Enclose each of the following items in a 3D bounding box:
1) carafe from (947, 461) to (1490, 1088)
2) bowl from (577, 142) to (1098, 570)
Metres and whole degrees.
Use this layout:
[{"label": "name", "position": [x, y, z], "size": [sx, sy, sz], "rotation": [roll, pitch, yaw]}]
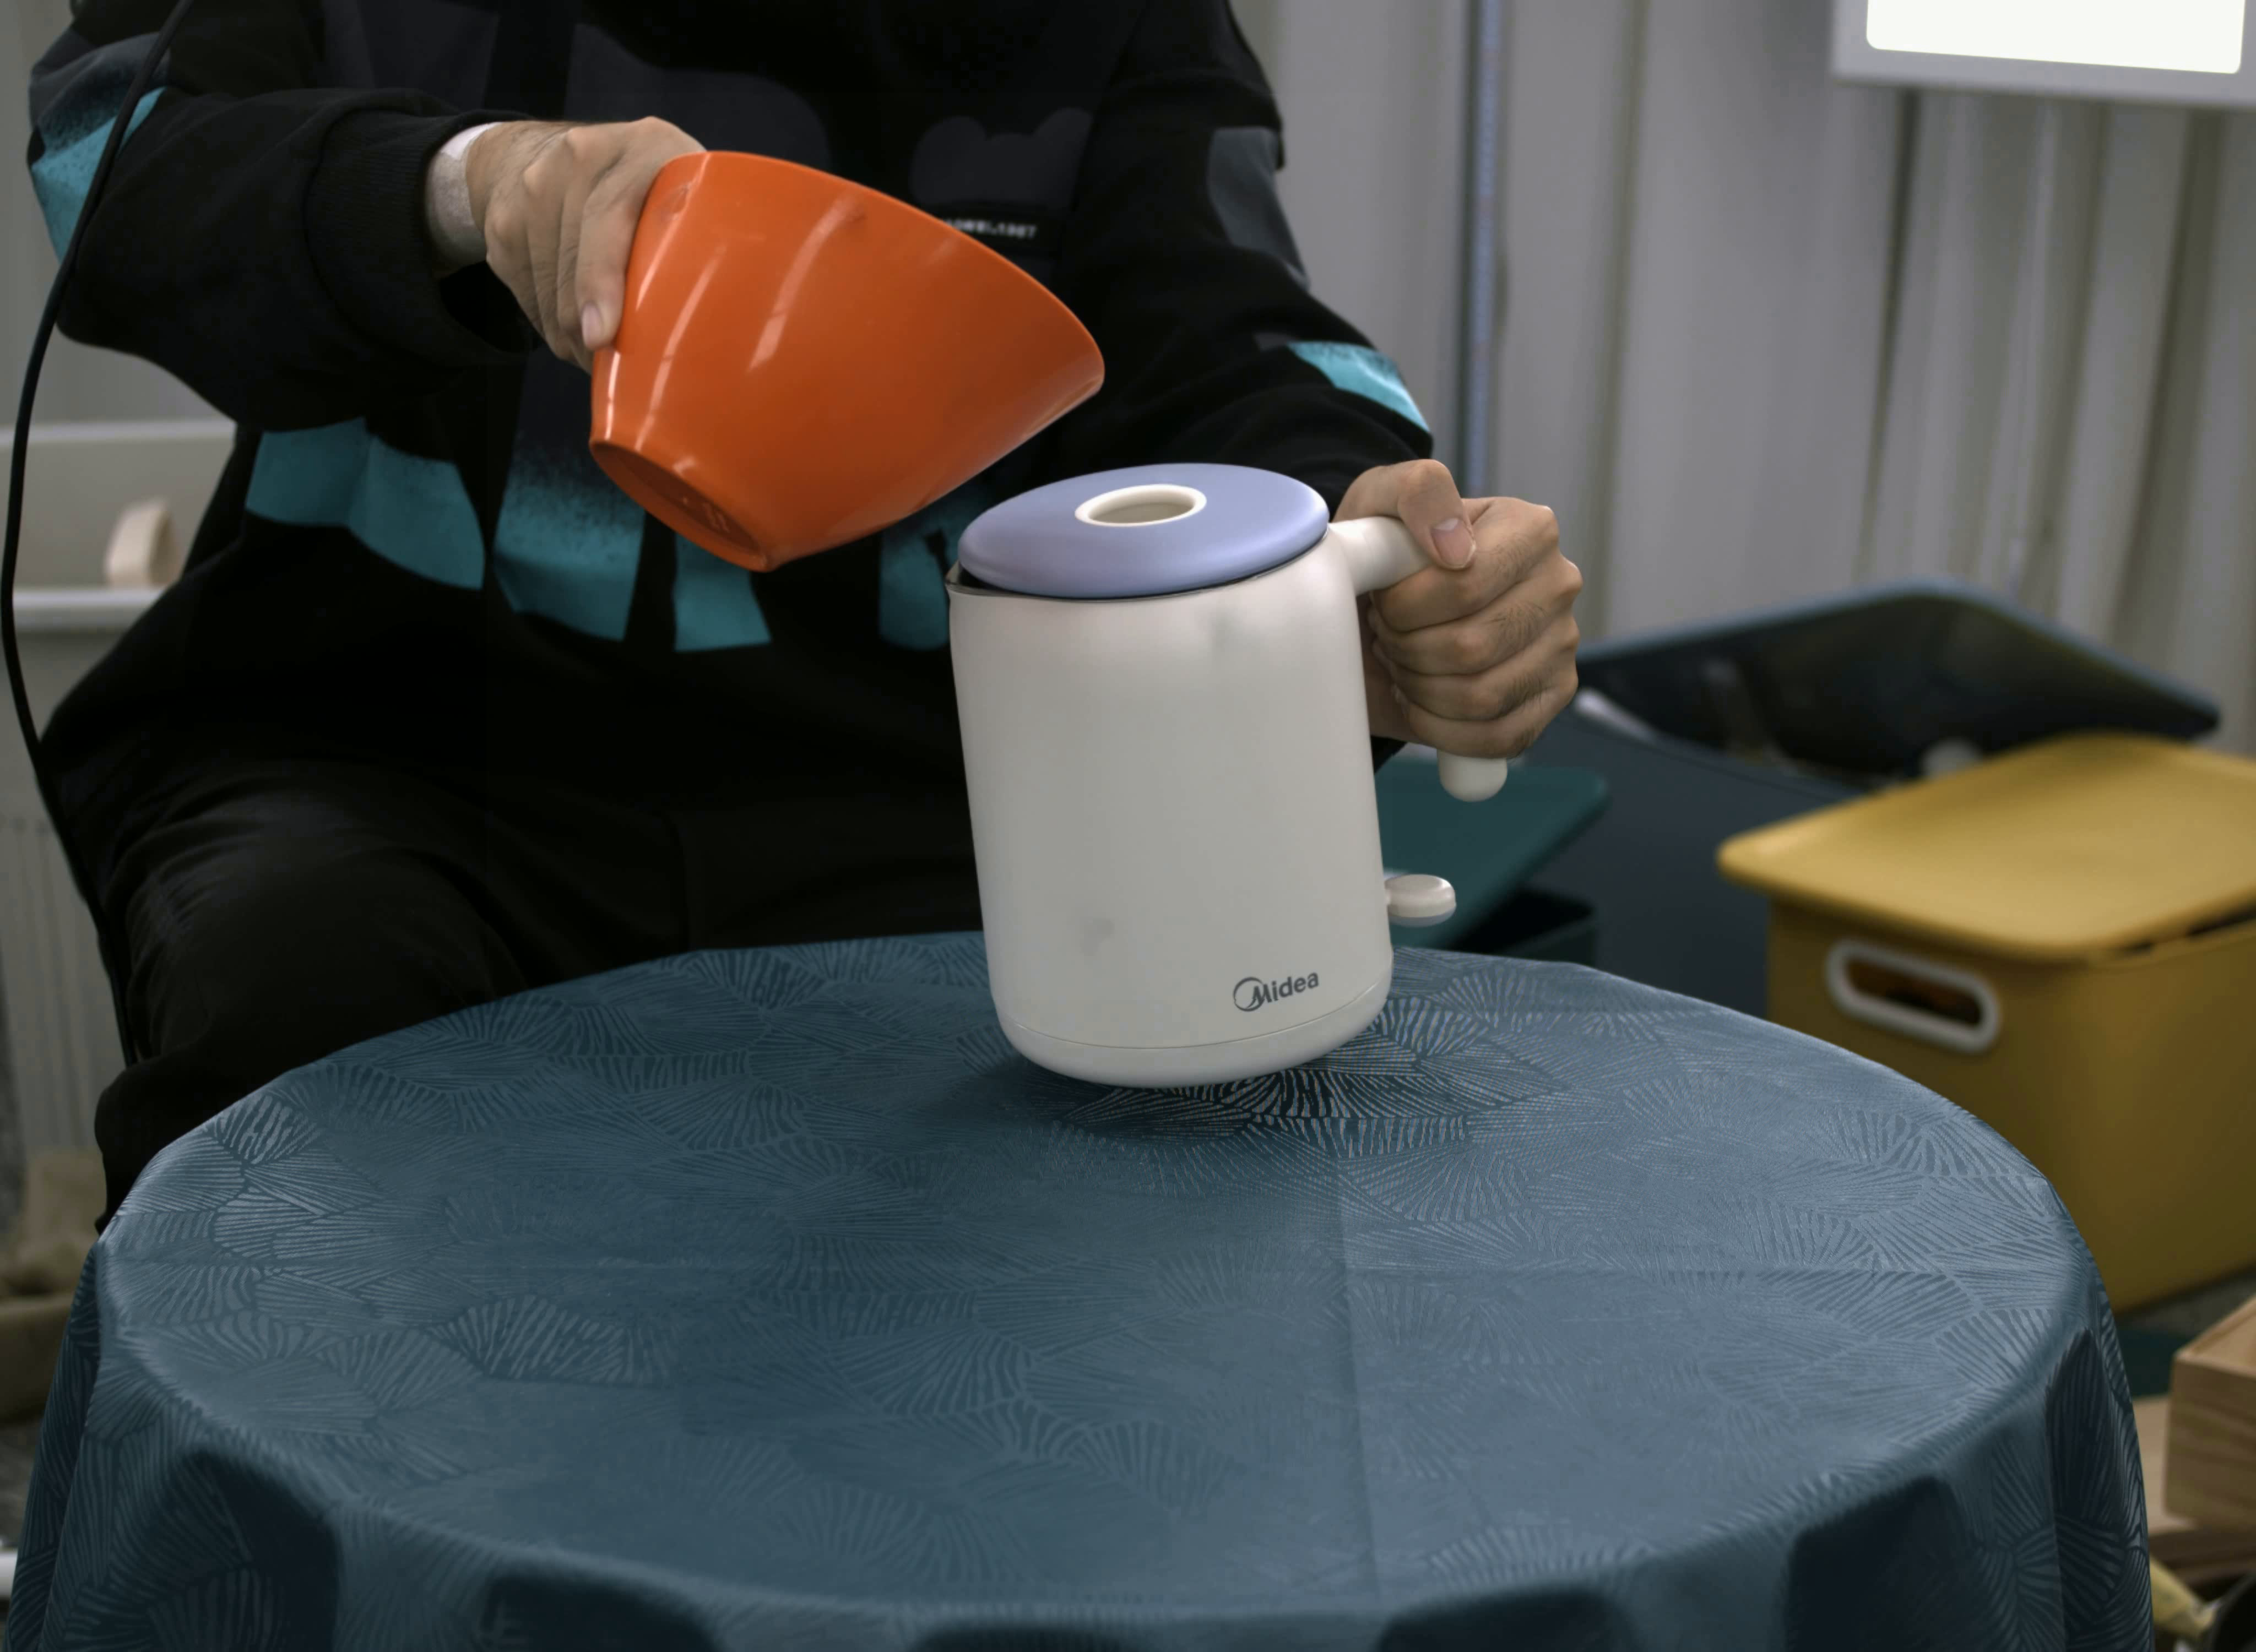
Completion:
[{"label": "carafe", "position": [0.034, -0.022, 1.697], "size": [0.191, 0.184, 0.130], "rotation": [-13, 23, -25]}, {"label": "bowl", "position": [-0.099, -0.132, 1.568], "size": [0.147, 0.104, 0.149], "rotation": [32, -12, 8]}]
